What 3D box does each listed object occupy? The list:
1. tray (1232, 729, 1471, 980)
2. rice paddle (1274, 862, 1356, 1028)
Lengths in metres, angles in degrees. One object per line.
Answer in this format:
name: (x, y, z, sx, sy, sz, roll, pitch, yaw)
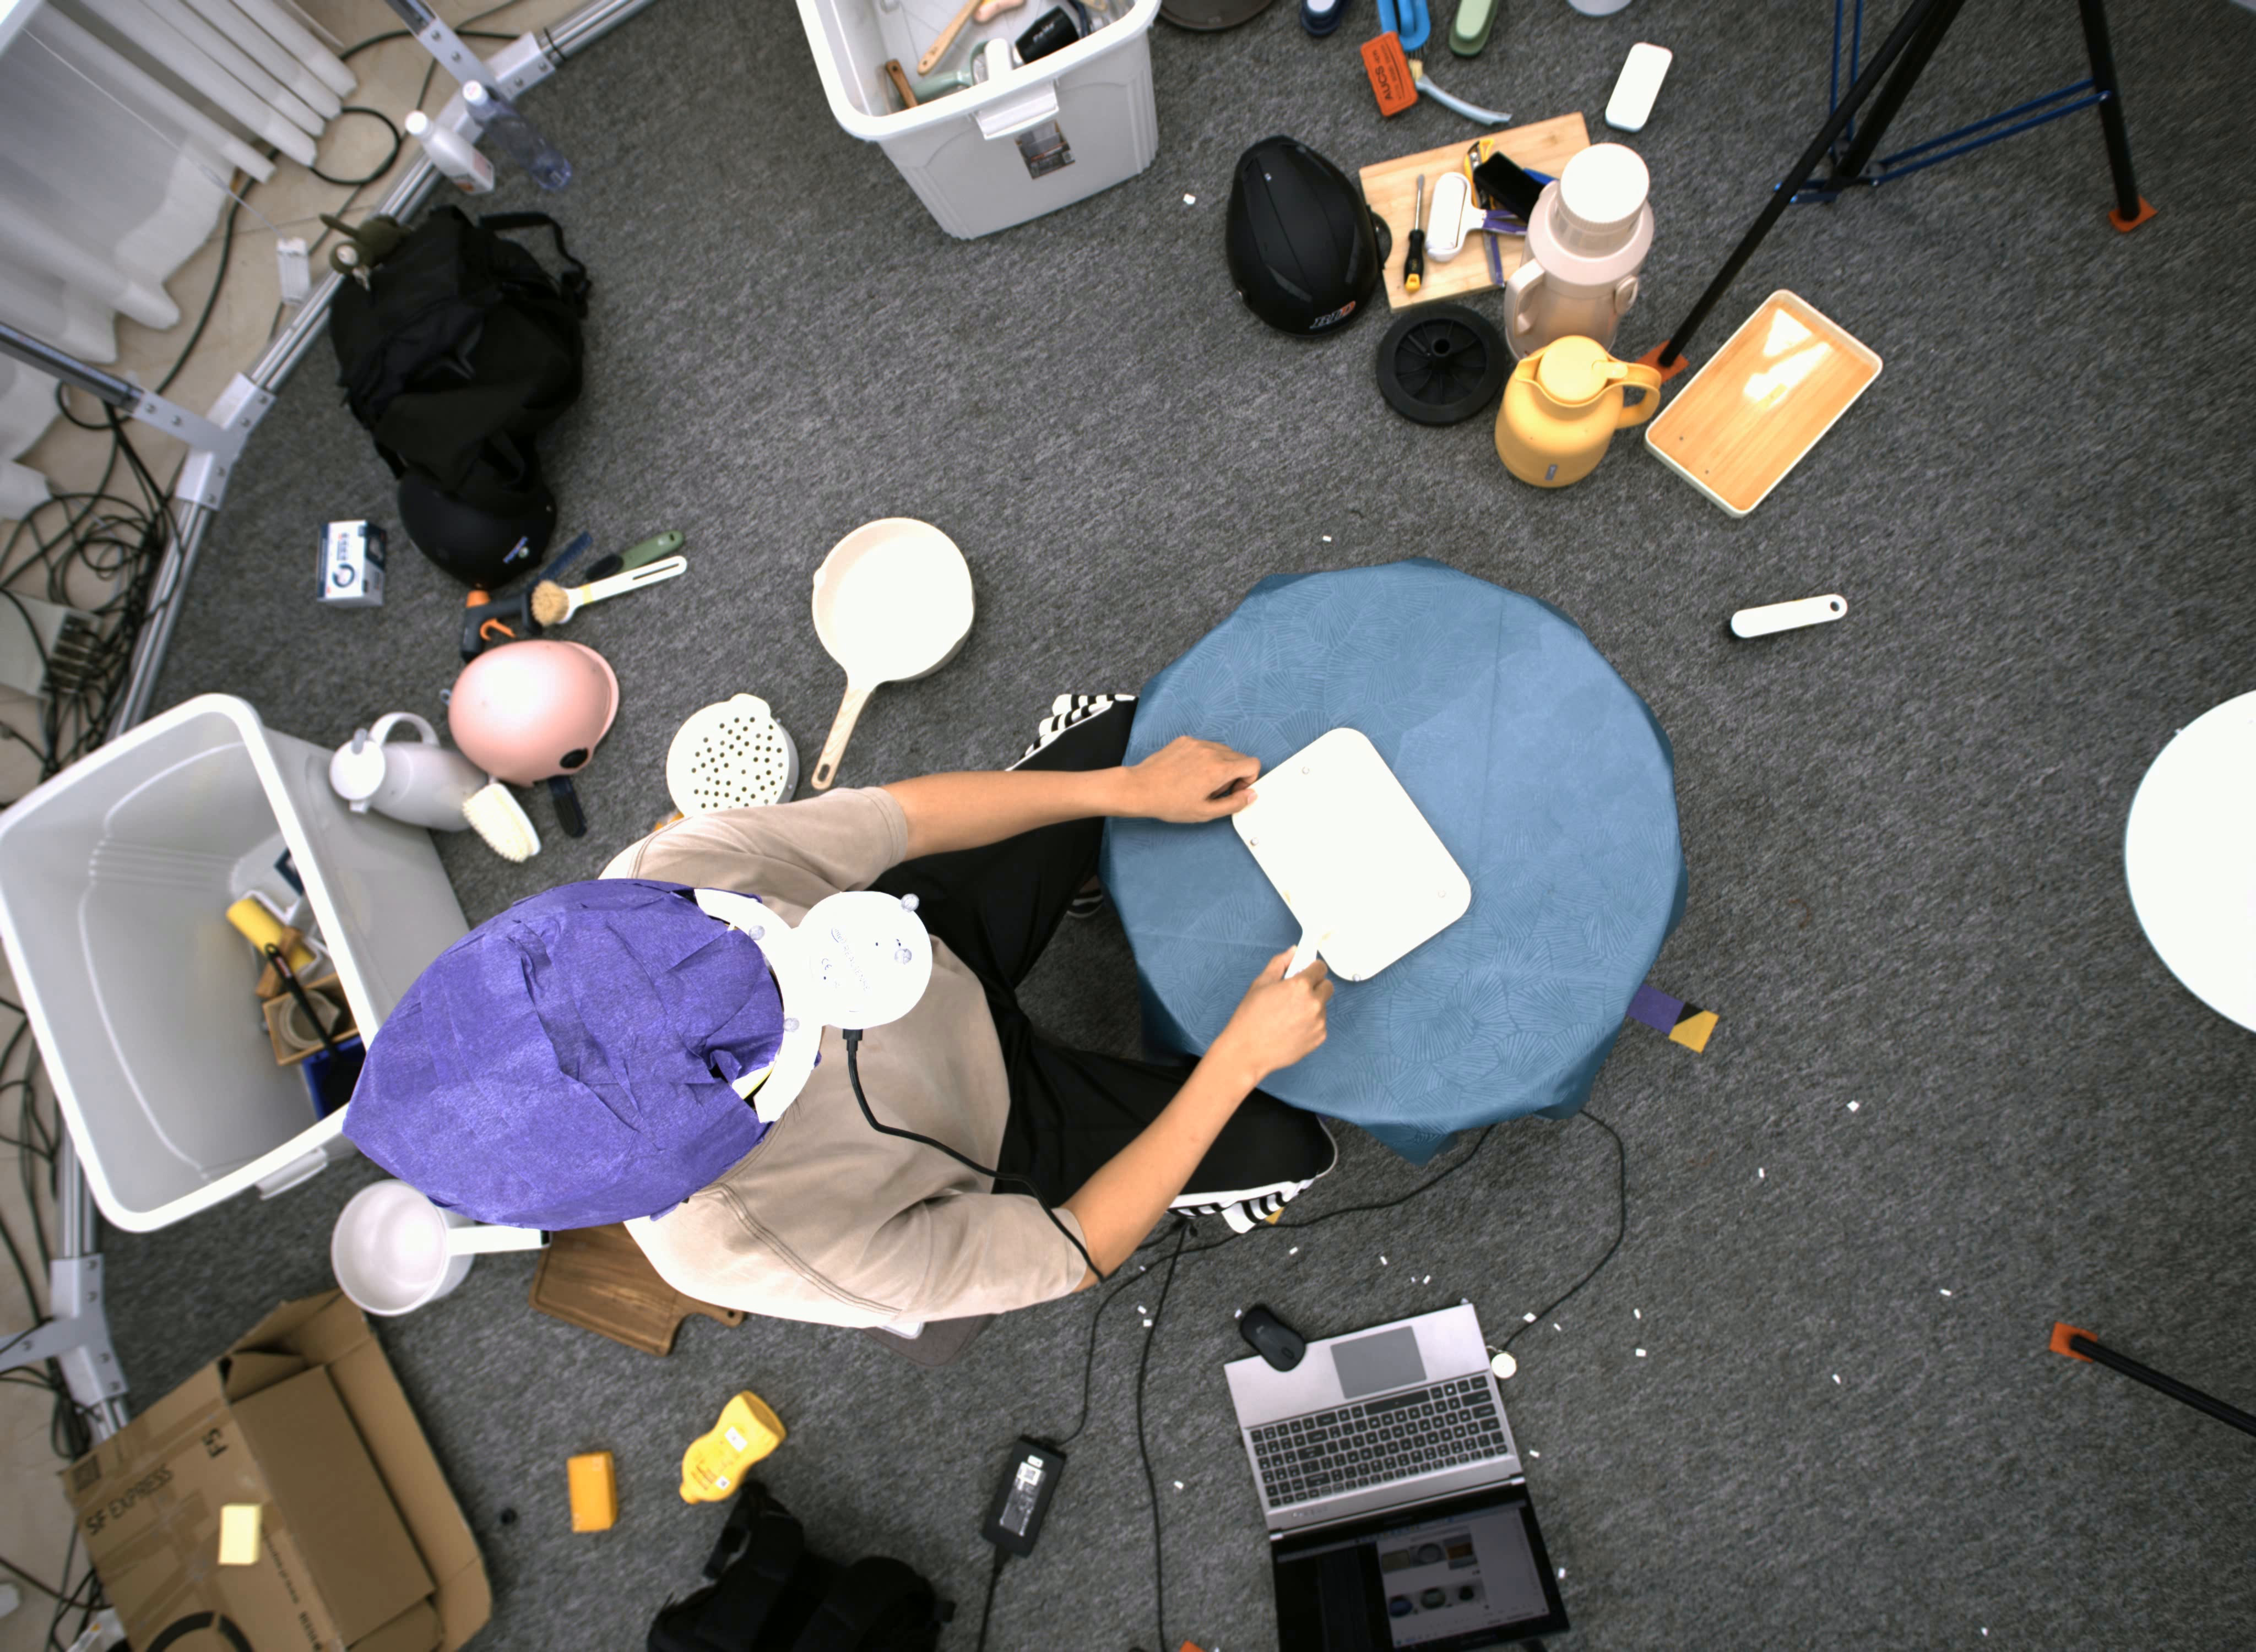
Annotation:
tray: (0.235, 0.029, 1.461, 0.172, 0.017, 0.238, -35, 81, 6)
rice paddle: (0.186, 0.112, 1.404, 0.069, 0.030, 0.200, 17, 53, 6)
